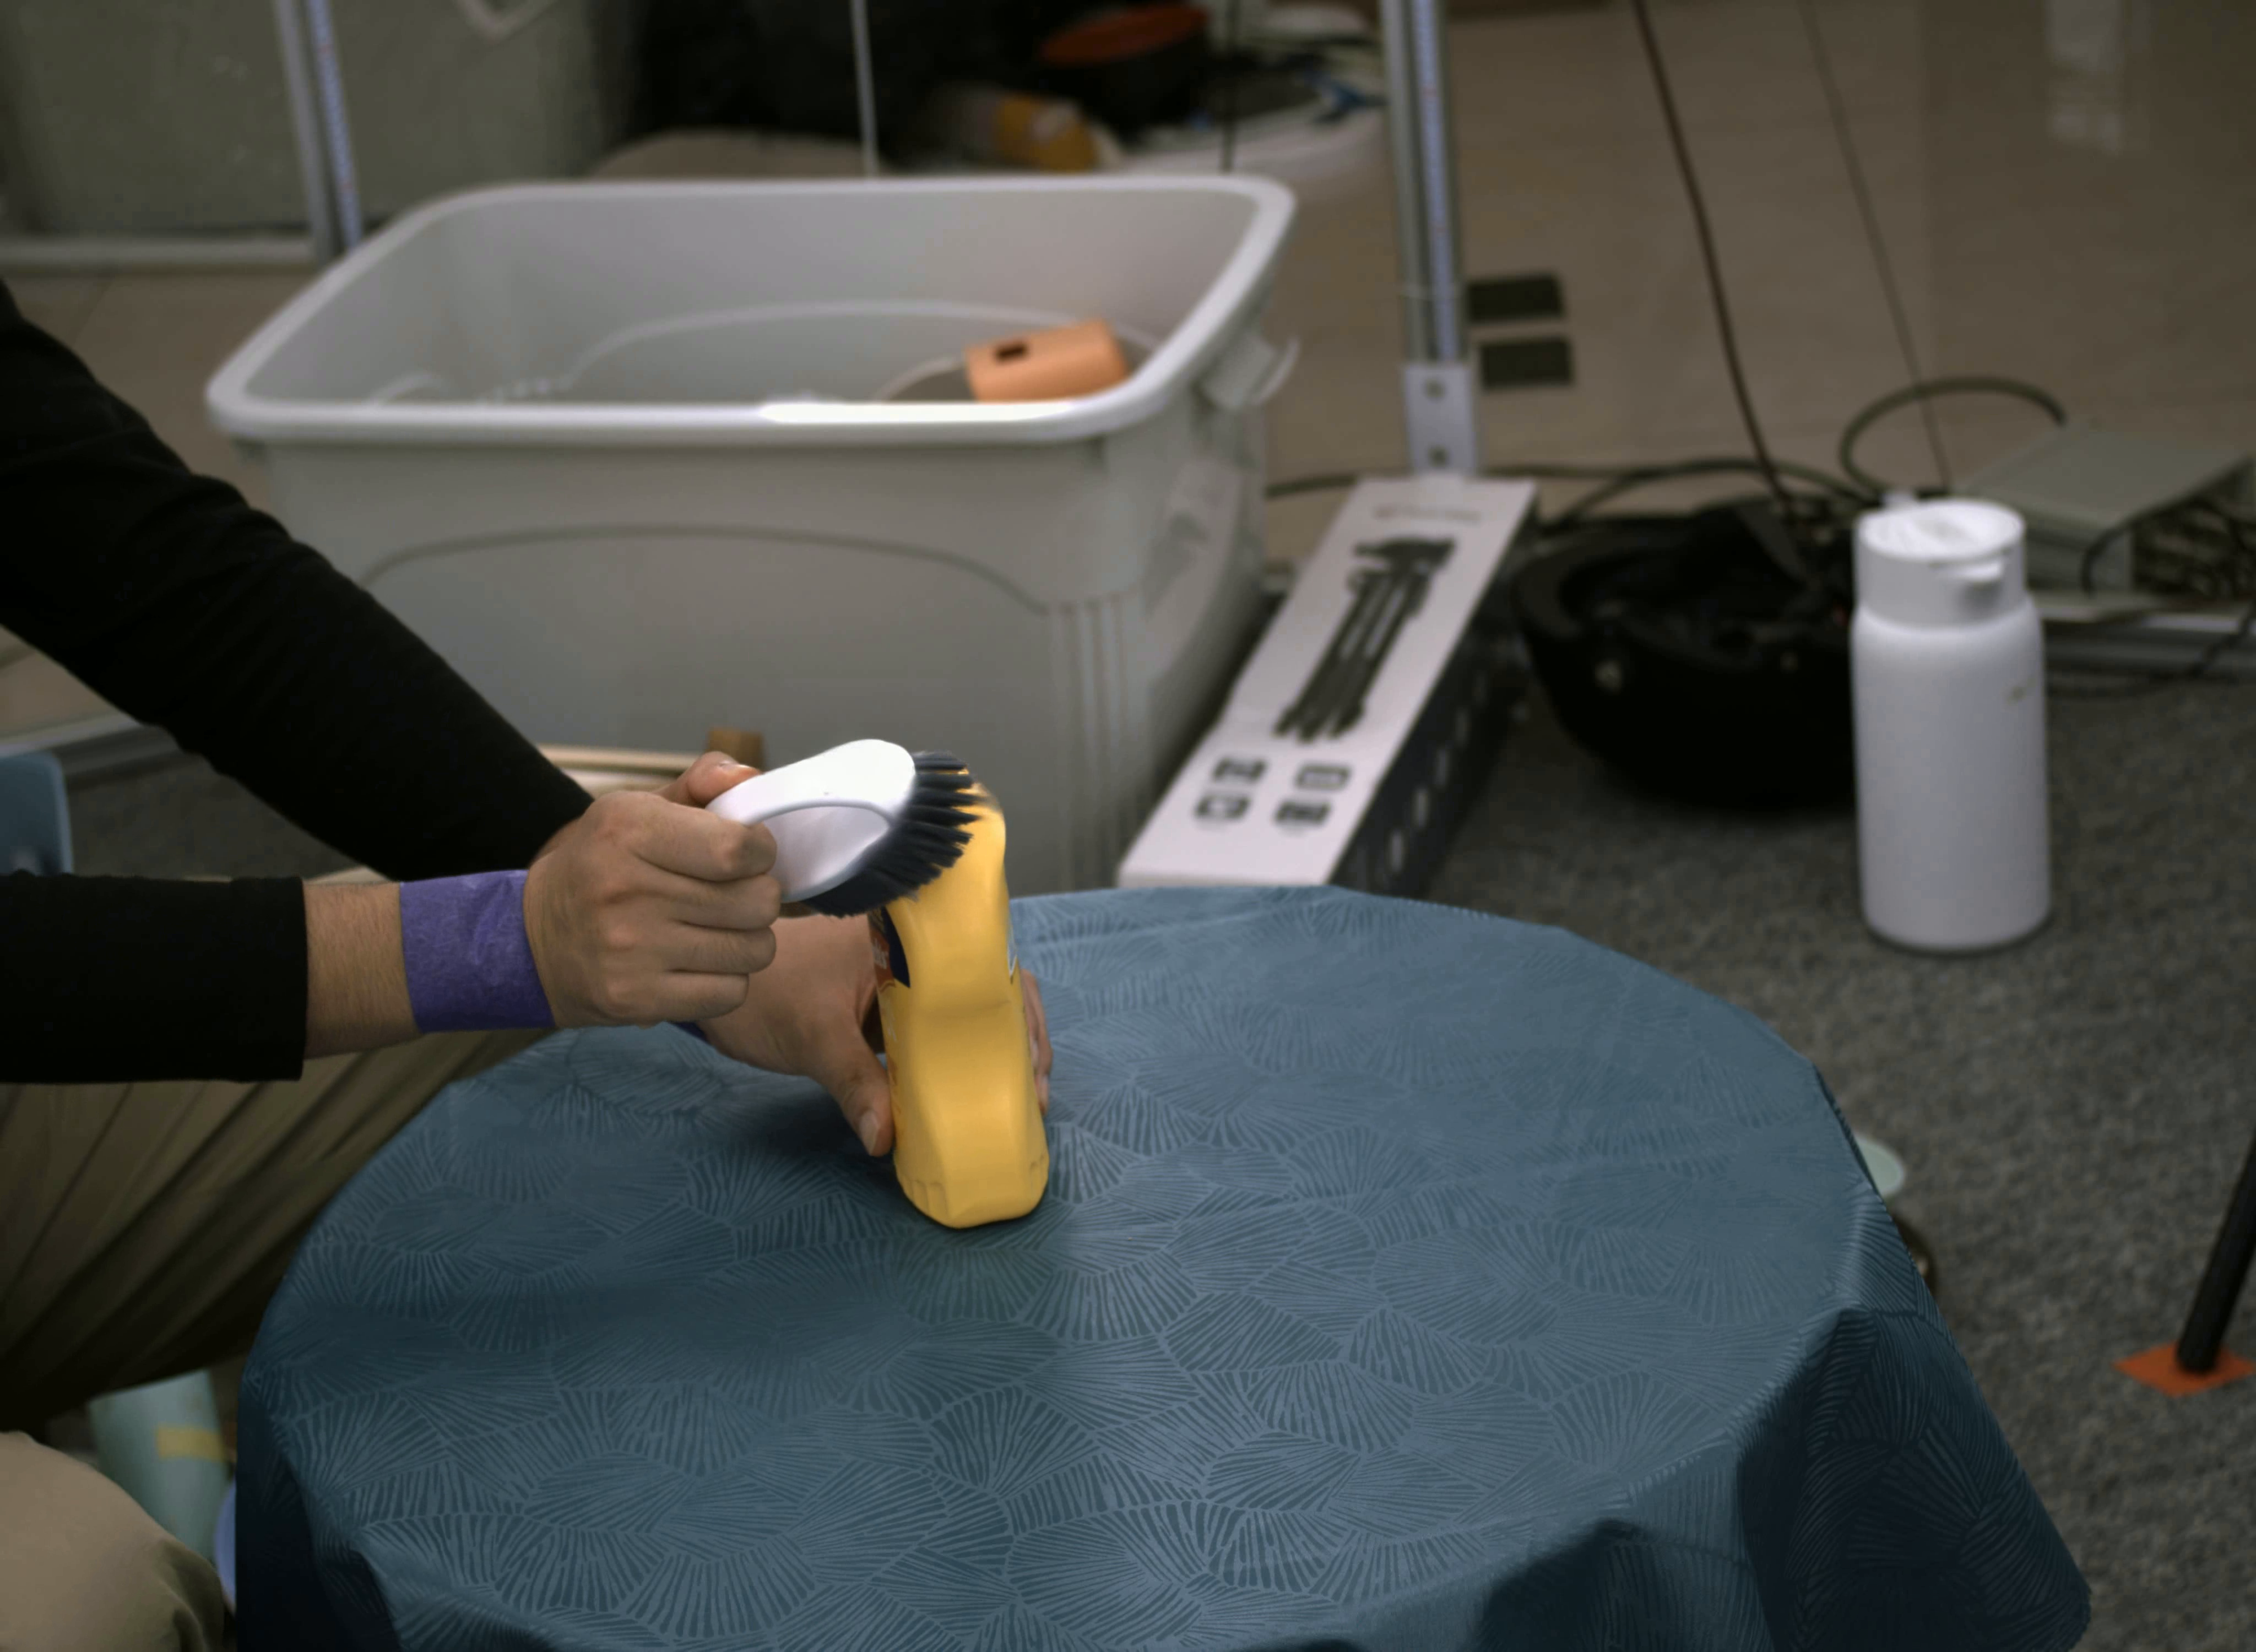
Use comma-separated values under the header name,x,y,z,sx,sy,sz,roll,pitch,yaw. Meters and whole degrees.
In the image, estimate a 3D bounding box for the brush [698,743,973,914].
name,x,y,z,sx,sy,sz,roll,pitch,yaw
brush,-0.114,-0.002,2.056,0.073,0.050,0.099,12,-21,-40

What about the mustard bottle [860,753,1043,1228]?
name,x,y,z,sx,sy,sz,roll,pitch,yaw
mustard bottle,-0.070,0.058,2.134,0.059,0.175,0.097,-10,28,-6
